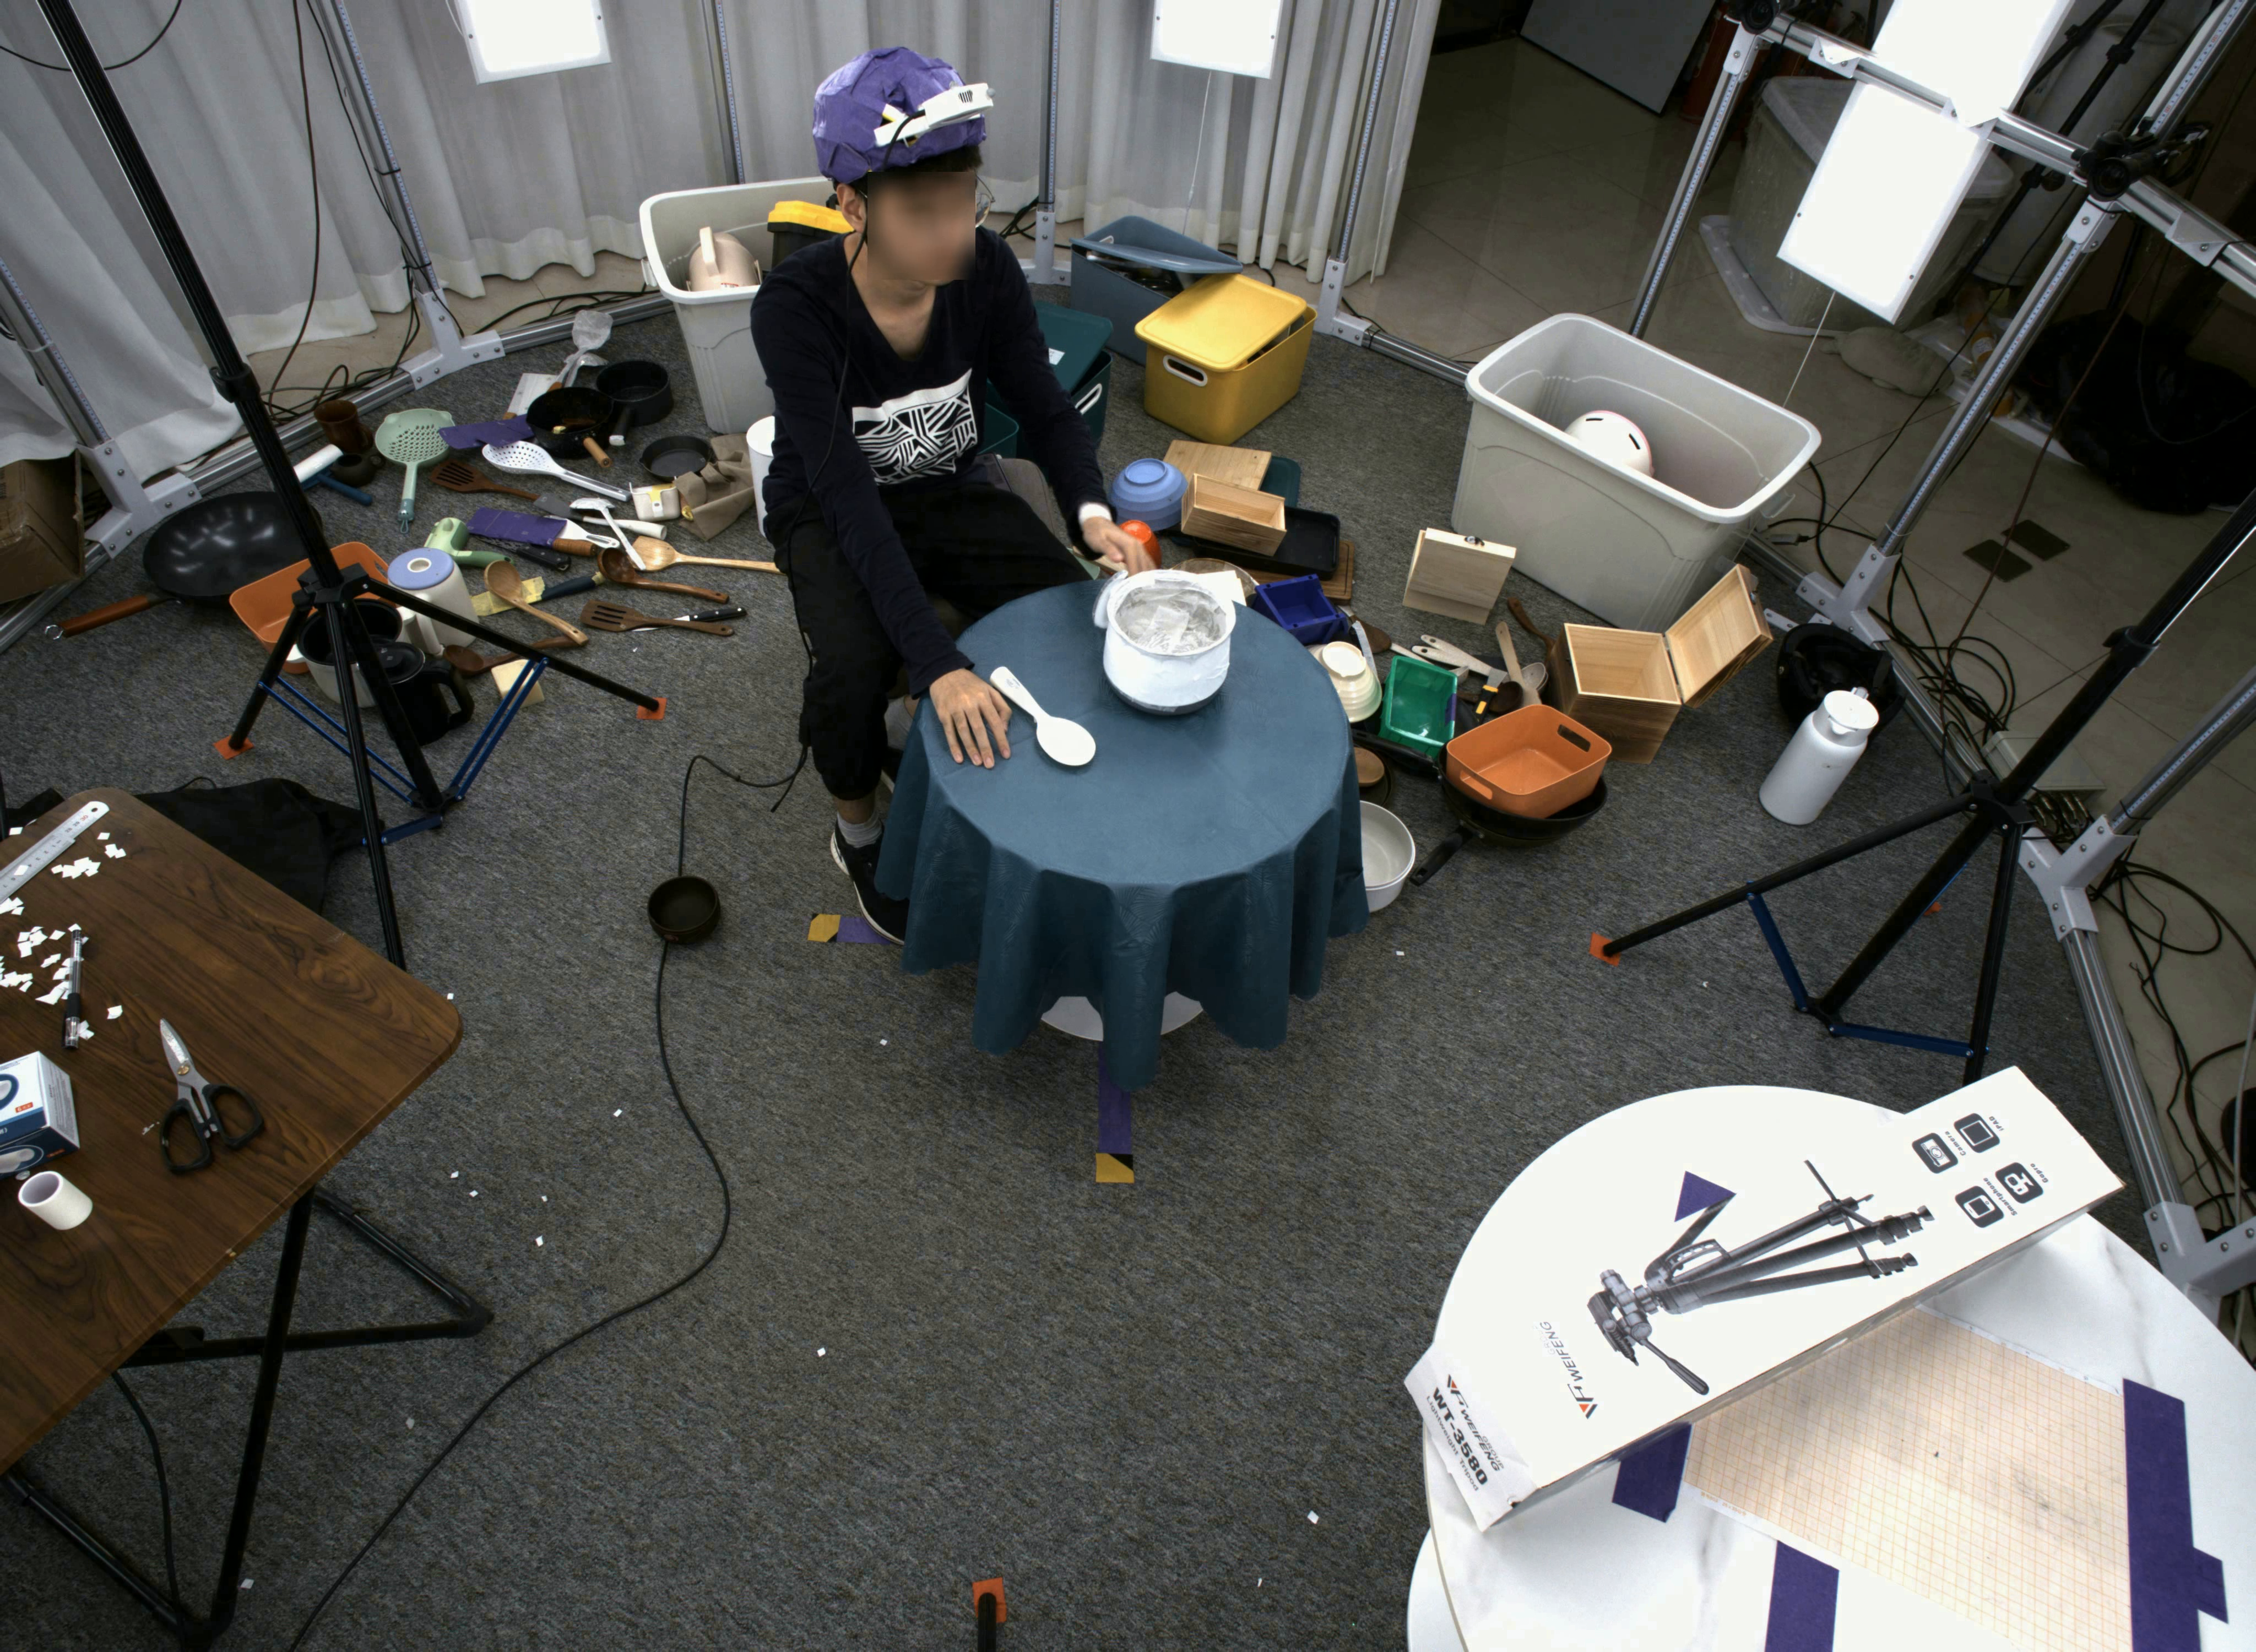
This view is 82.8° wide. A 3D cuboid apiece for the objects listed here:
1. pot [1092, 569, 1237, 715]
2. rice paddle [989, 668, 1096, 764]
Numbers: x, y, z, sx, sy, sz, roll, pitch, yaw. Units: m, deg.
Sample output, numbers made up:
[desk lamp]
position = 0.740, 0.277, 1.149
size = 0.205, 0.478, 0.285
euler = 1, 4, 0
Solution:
[pot]
position = 0.037, -0.270, 1.816
size = 0.180, 0.133, 0.237
euler = -32, 59, -30
[rice paddle]
position = -0.119, -0.152, 1.773
size = 0.069, 0.029, 0.209
euler = -31, 57, -25
